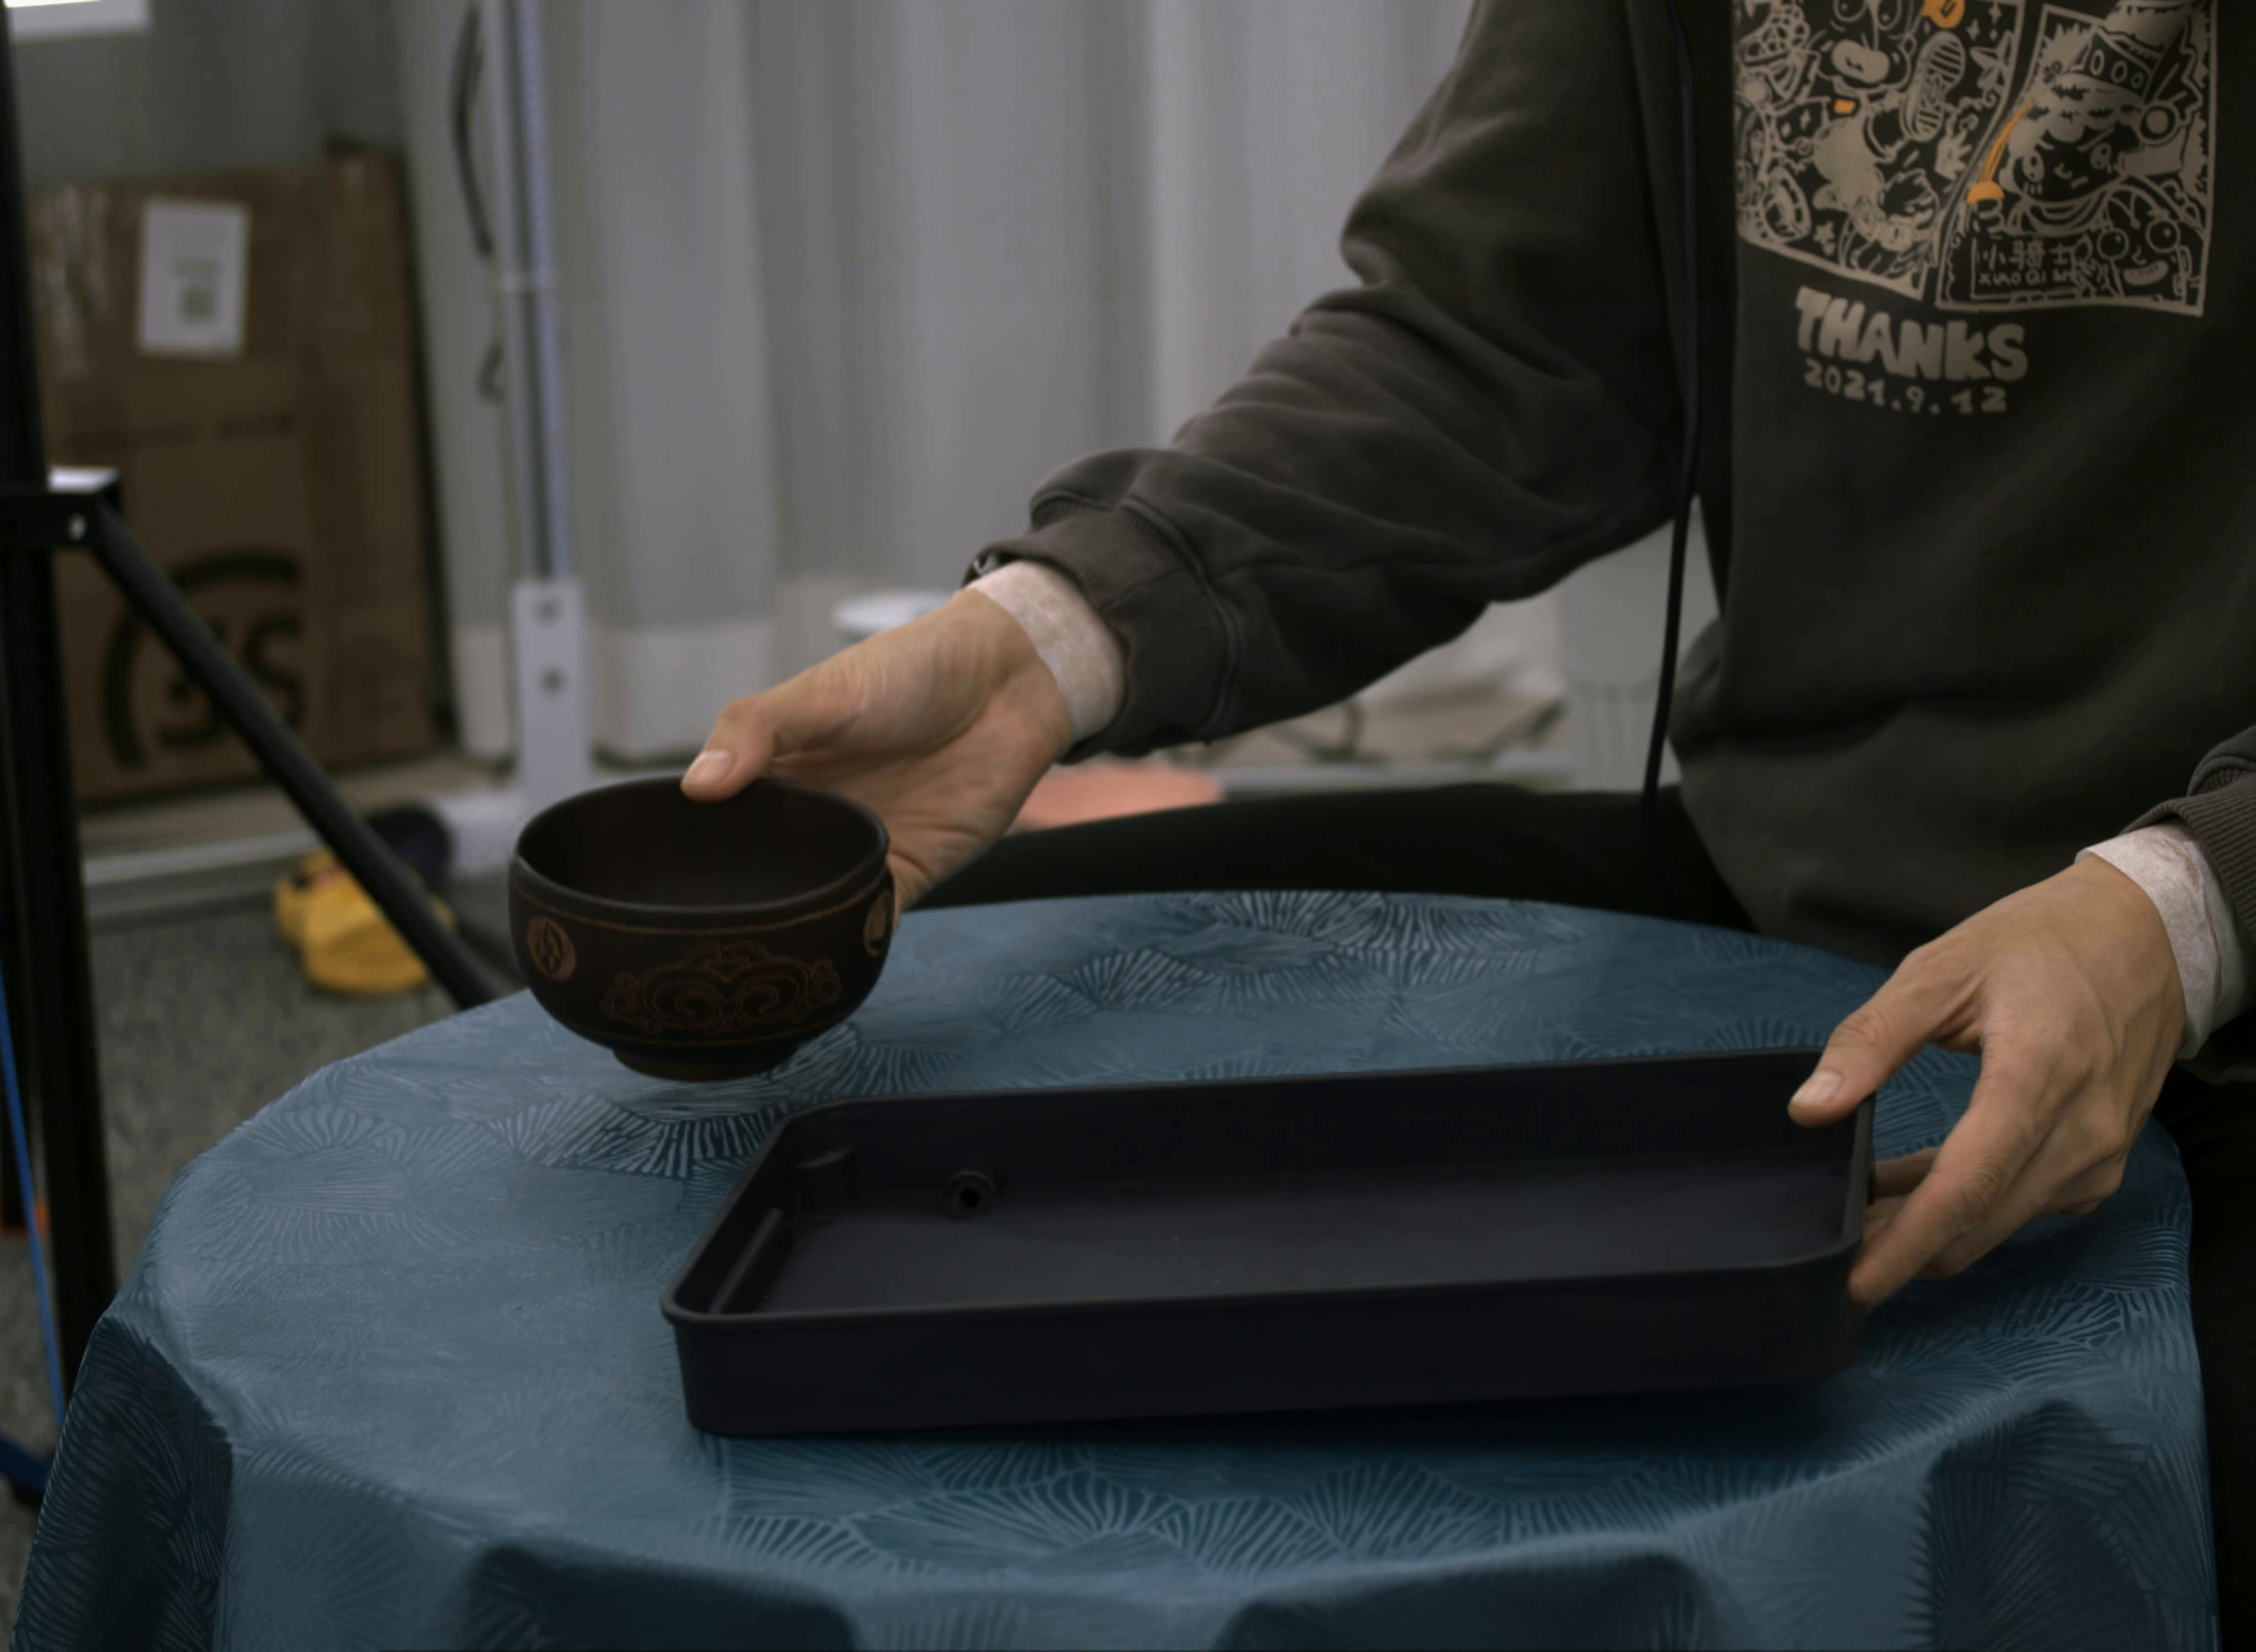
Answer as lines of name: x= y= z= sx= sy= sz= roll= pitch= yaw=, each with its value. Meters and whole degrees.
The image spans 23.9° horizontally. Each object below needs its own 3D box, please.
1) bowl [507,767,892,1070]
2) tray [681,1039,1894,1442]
bowl: x=-0.131 y=0.033 z=1.633 sx=0.117 sy=0.070 sz=0.119 roll=0 pitch=19 yaw=-1
tray: x=0.049 y=0.111 z=1.440 sx=0.319 sy=0.037 sz=0.184 roll=-5 pitch=14 yaw=10
